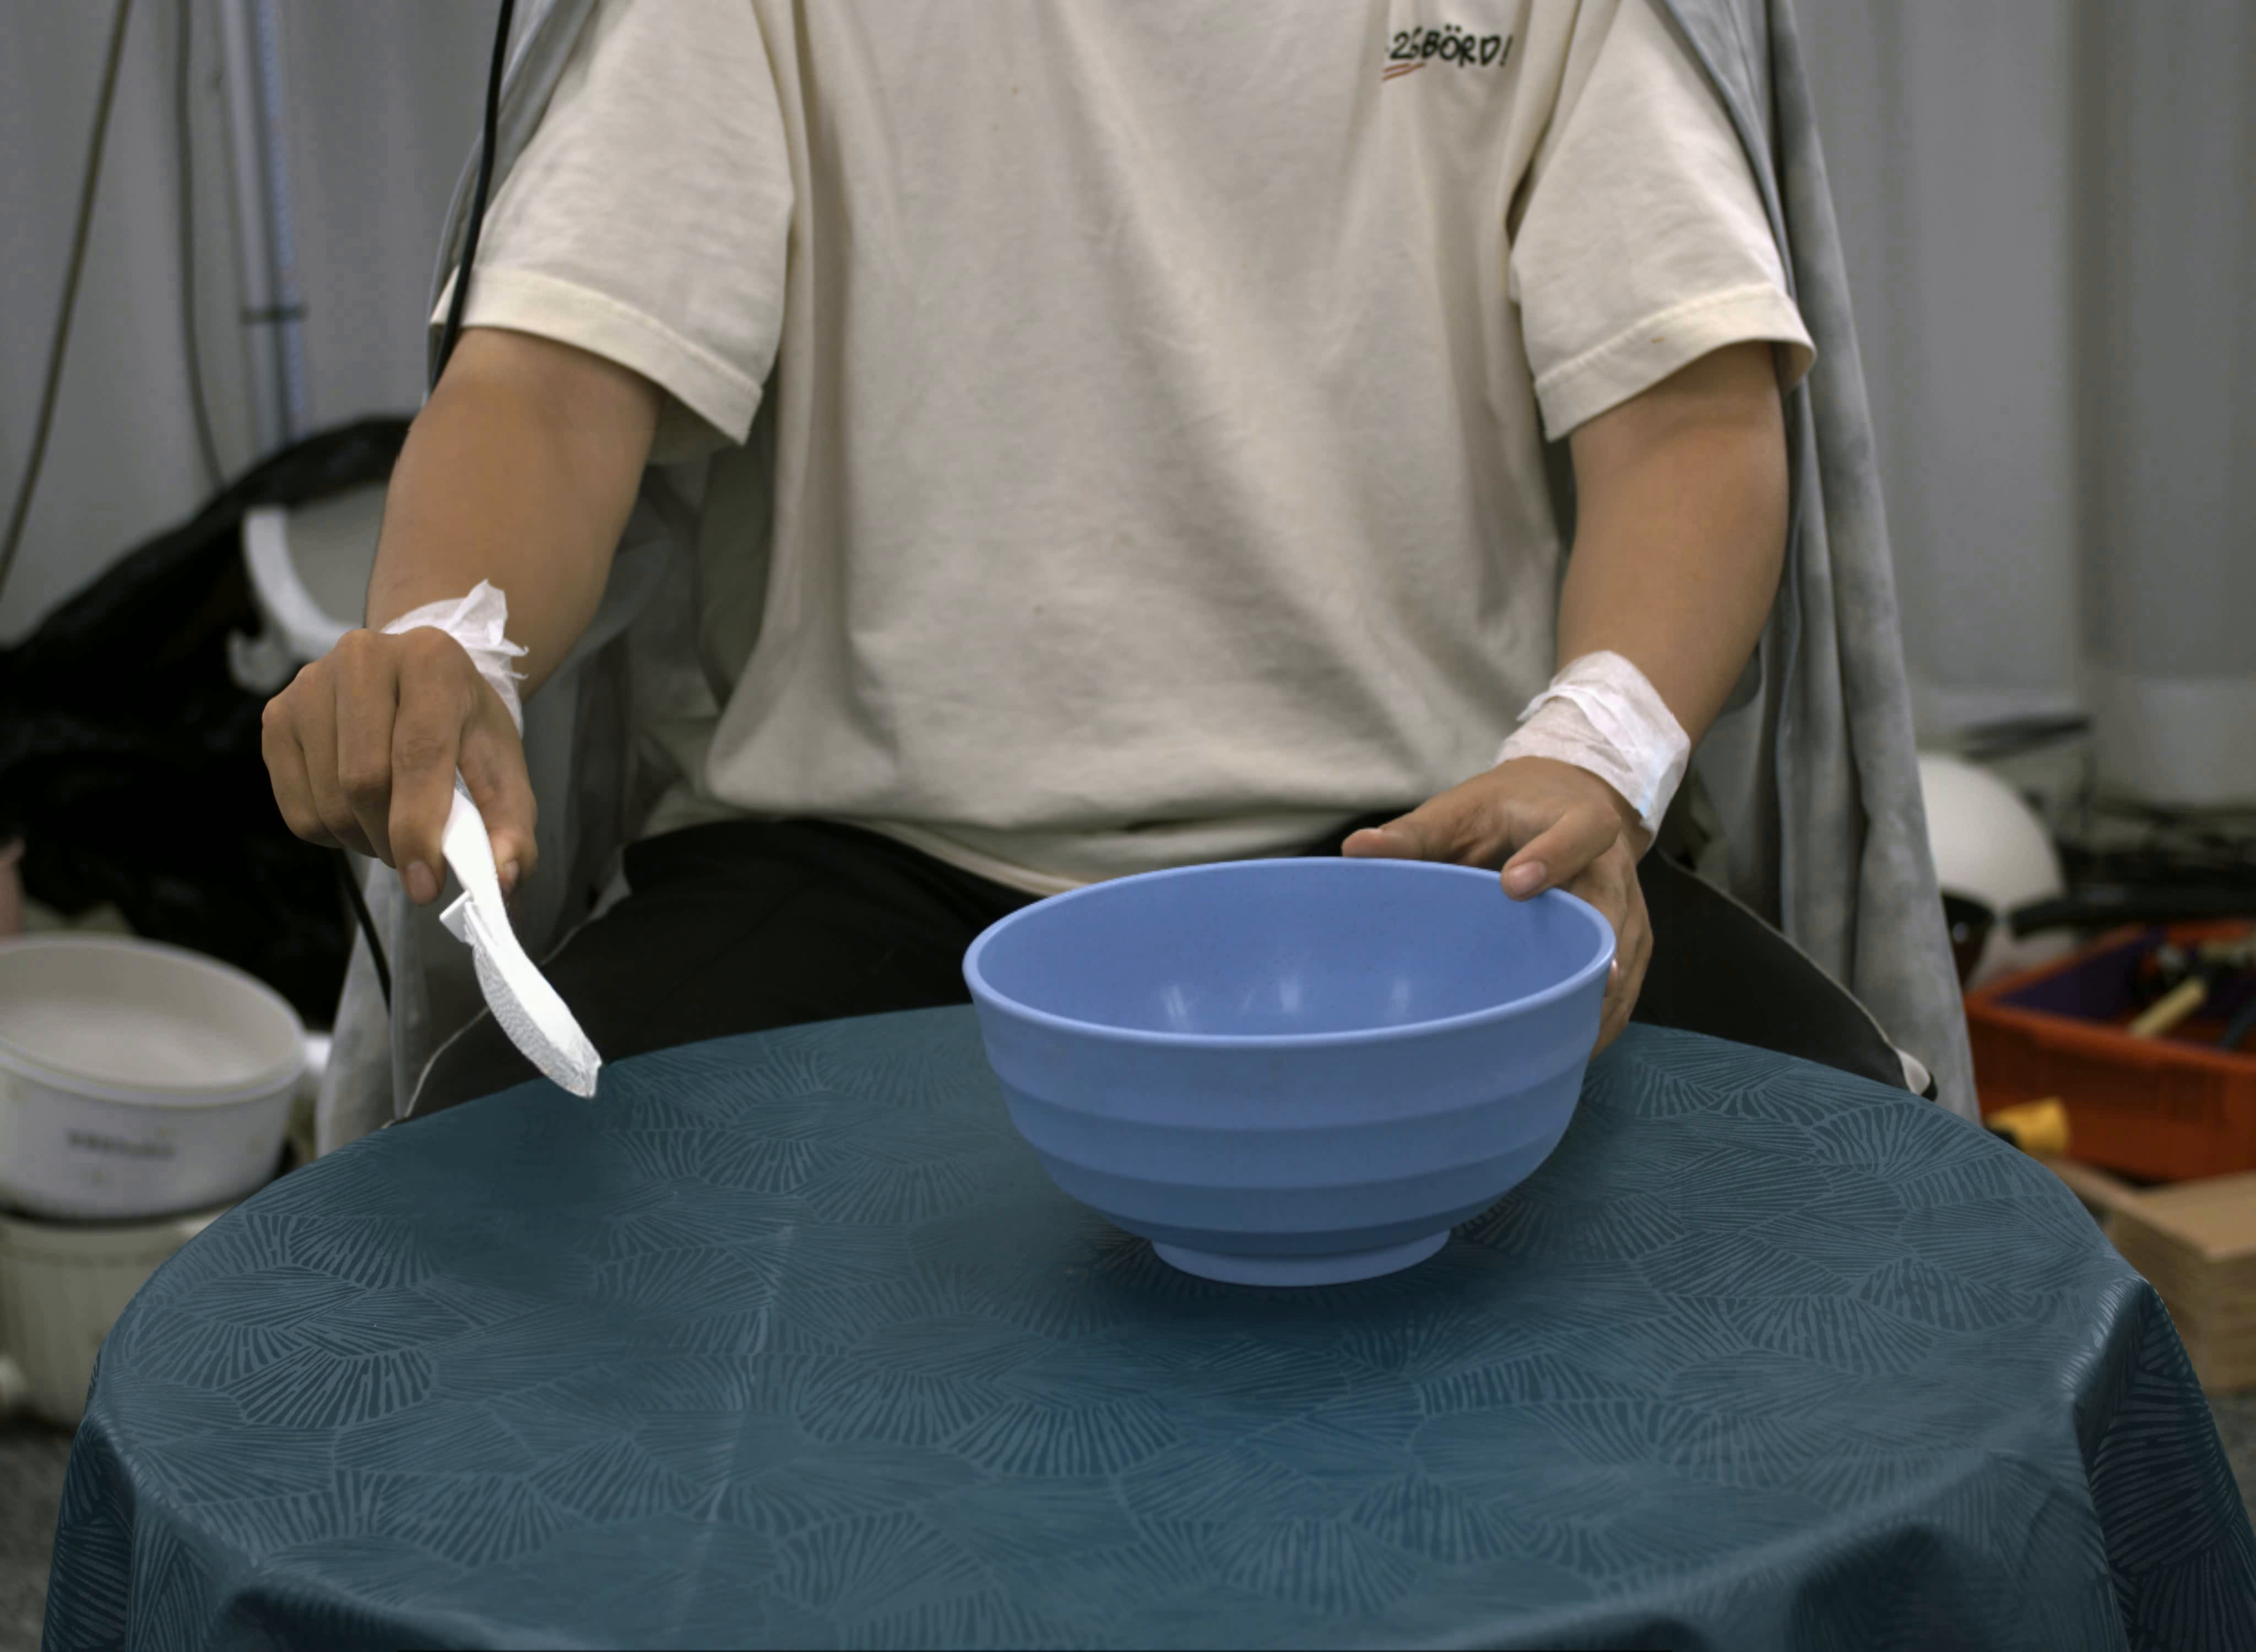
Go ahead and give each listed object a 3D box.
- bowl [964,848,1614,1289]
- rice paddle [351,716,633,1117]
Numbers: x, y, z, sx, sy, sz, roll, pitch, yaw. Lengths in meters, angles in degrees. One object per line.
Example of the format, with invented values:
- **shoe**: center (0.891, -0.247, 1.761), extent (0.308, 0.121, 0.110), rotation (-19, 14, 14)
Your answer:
- **bowl**: center (0.051, 0.080, 1.657), extent (0.196, 0.095, 0.198), rotation (-3, 17, 1)
- **rice paddle**: center (-0.193, 0.027, 1.668), extent (0.029, 0.068, 0.208), rotation (-39, 37, 0)
